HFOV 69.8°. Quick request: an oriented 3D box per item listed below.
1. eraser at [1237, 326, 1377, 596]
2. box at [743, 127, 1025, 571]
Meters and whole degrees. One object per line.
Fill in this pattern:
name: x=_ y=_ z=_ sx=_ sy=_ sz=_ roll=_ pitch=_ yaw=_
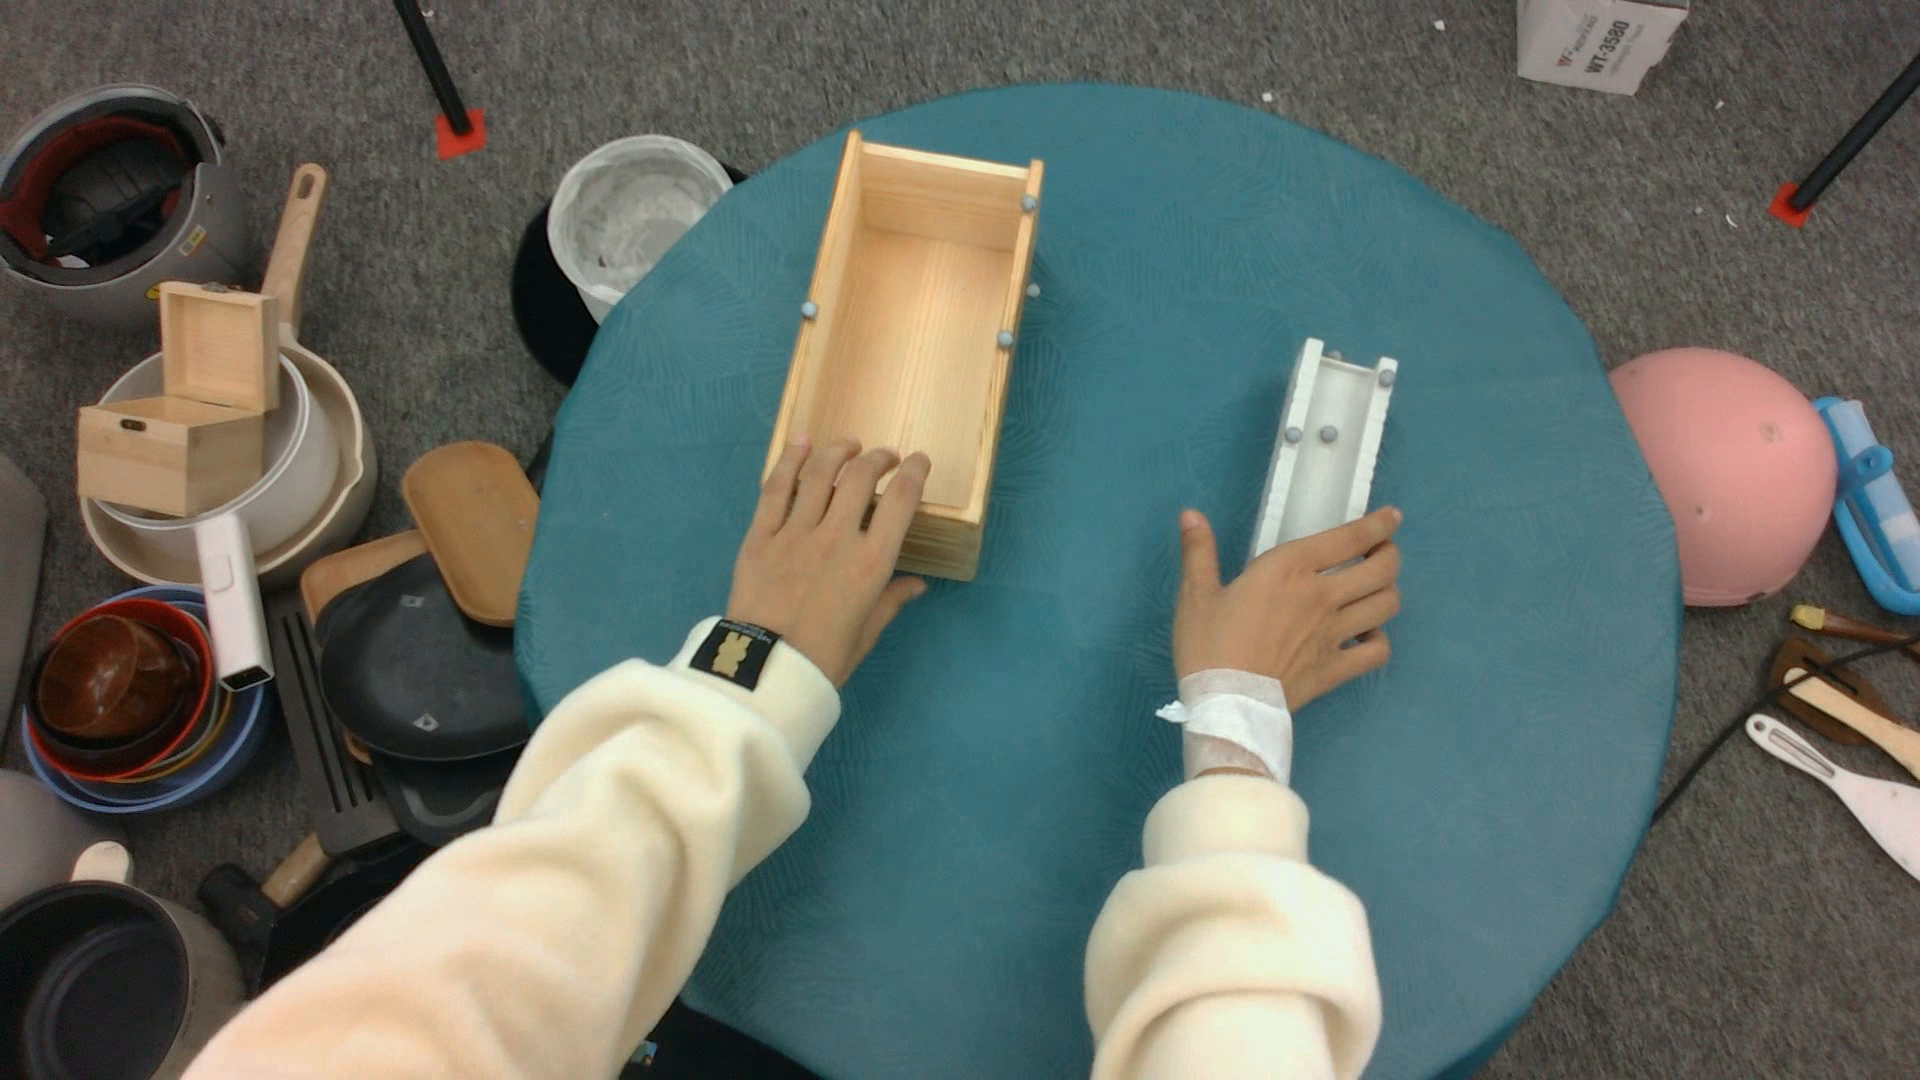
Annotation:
eraser: x=0.180 y=-0.041 z=0.720 sx=0.050 sy=0.046 sz=0.135 roll=15 pitch=66 yaw=2
box: x=-0.035 y=-0.101 z=0.720 sx=0.107 sy=0.080 sz=0.212 roll=9 pitch=66 yaw=2
